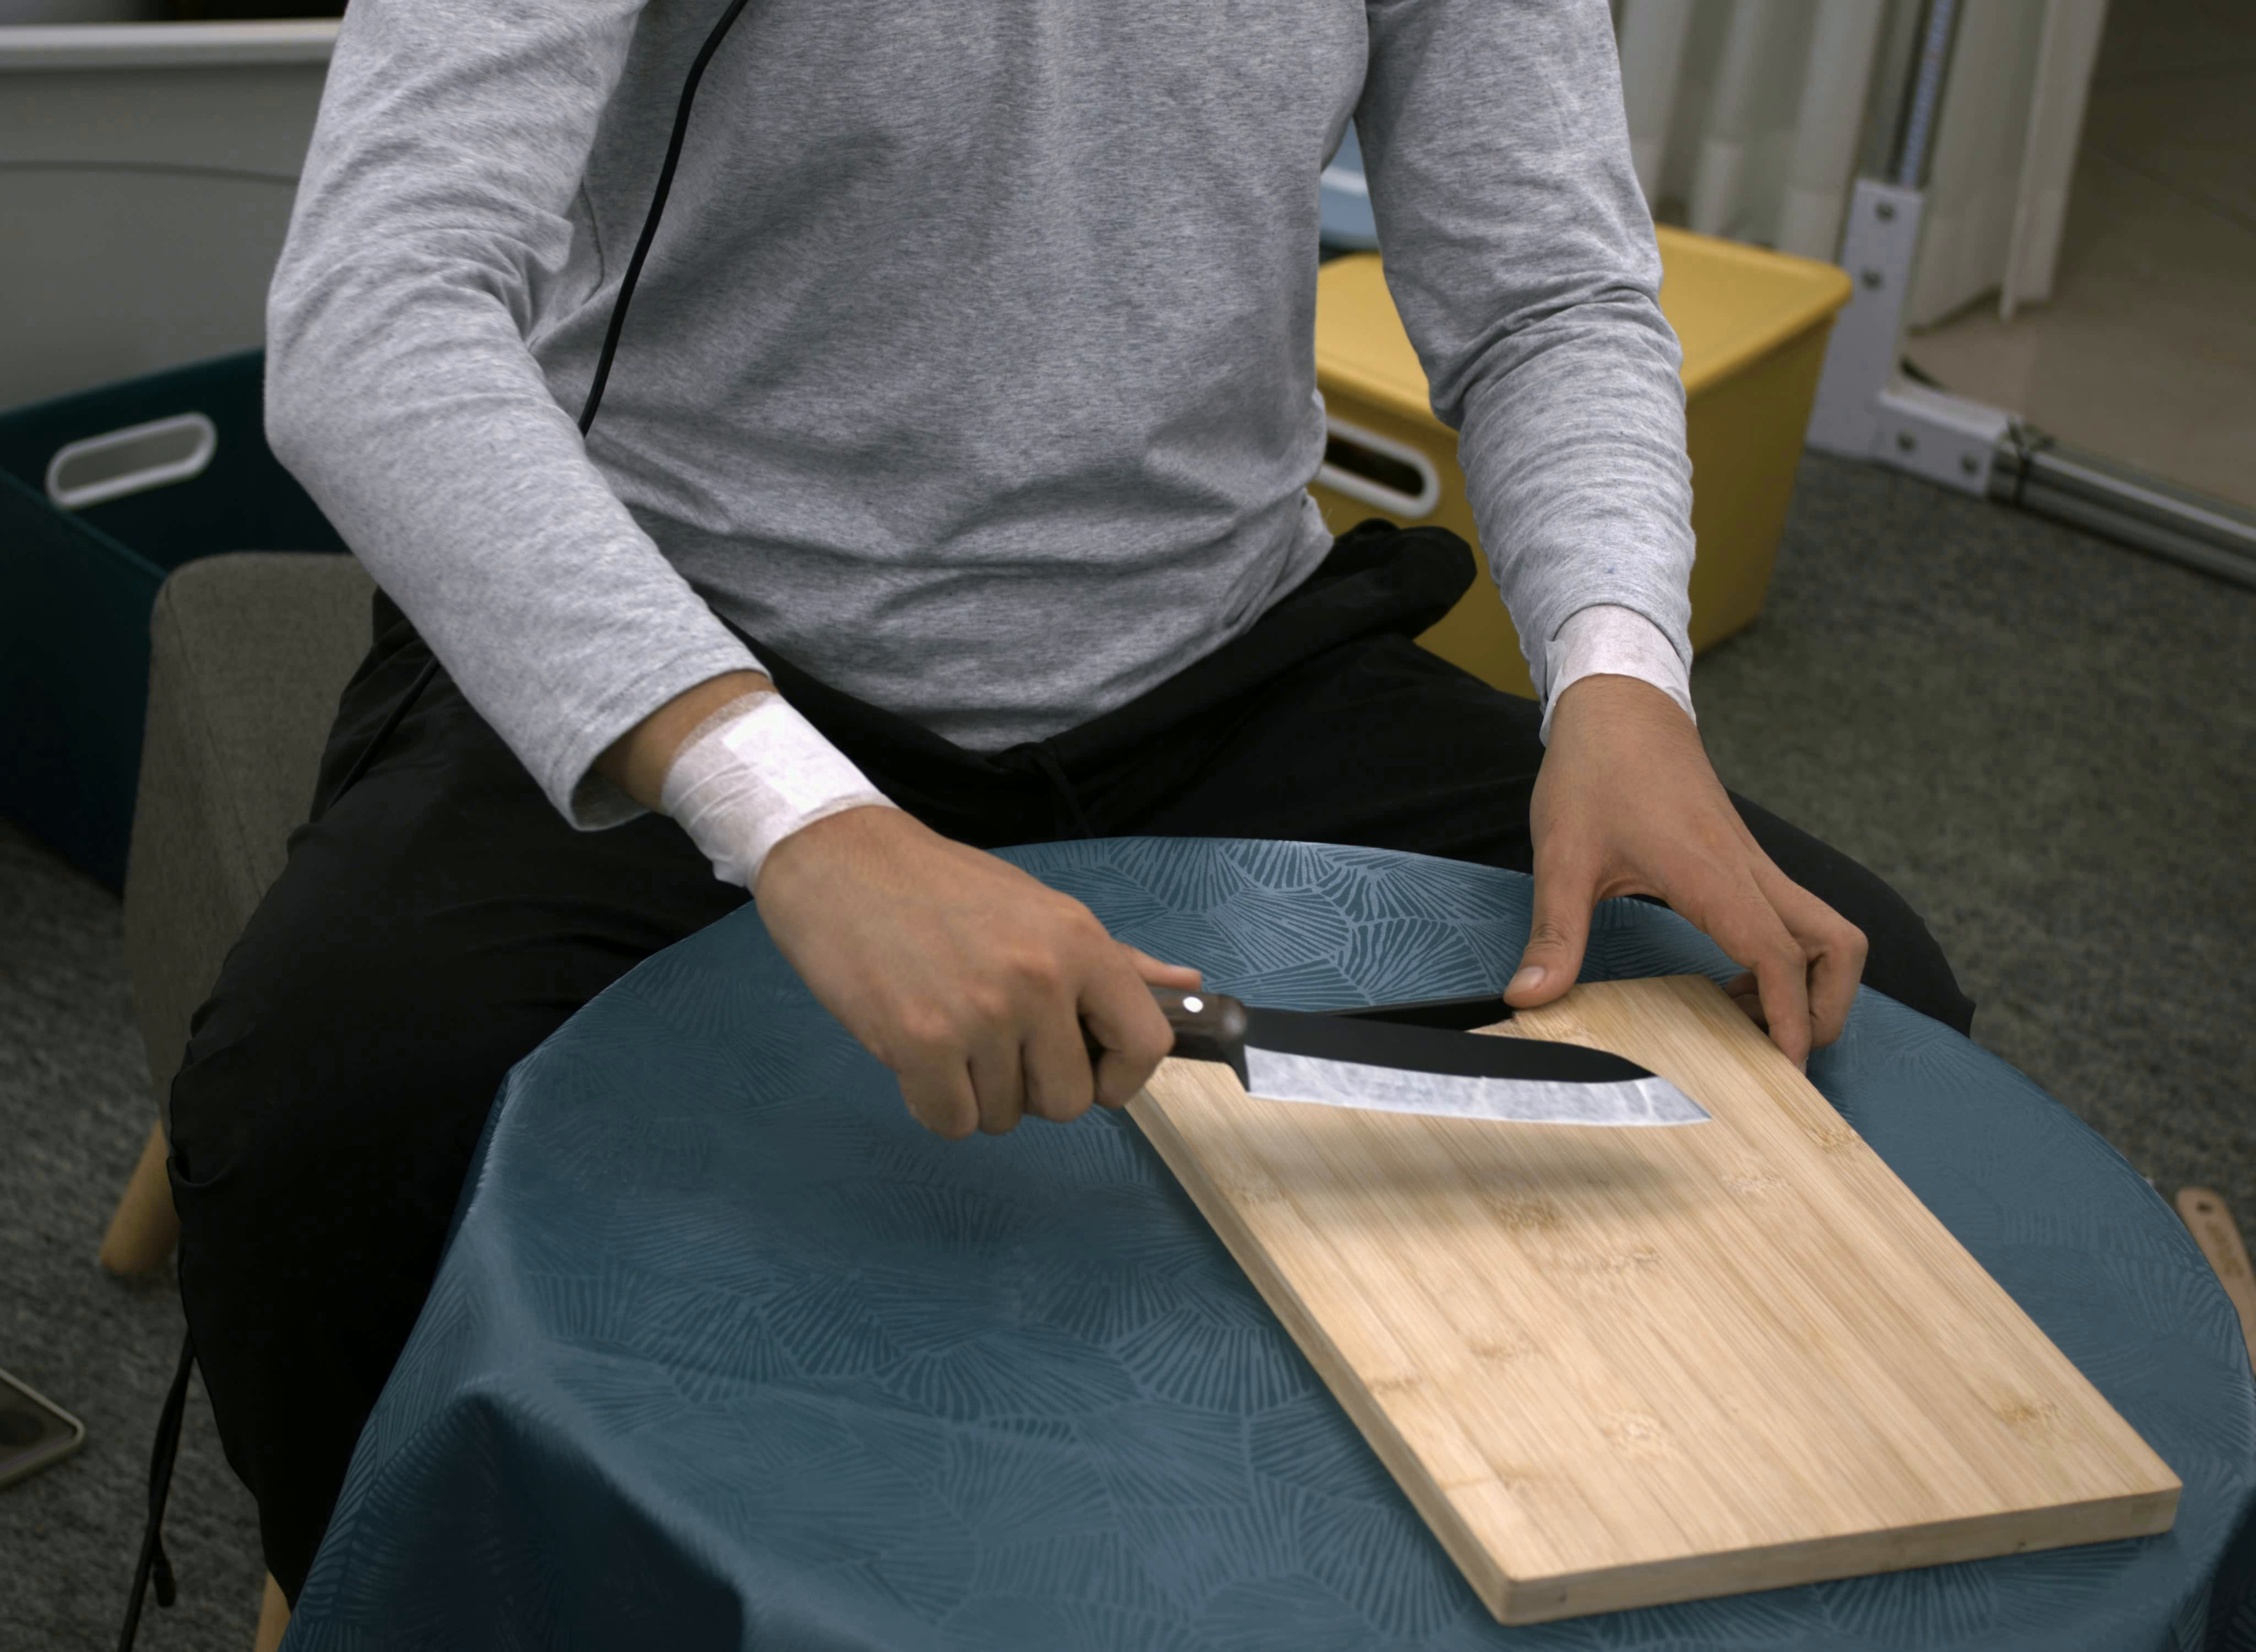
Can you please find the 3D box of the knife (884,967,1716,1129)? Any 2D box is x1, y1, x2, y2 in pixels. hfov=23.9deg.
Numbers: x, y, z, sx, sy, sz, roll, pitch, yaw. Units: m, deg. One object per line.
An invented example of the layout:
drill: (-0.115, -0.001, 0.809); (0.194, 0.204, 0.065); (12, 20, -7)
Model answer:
knife: (0.060, 0.076, 1.776); (0.287, 0.020, 0.050); (8, 41, -11)

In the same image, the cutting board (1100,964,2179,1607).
cutting board: (0.161, 0.146, 1.781); (0.249, 0.023, 0.352); (-4, 29, -22)
